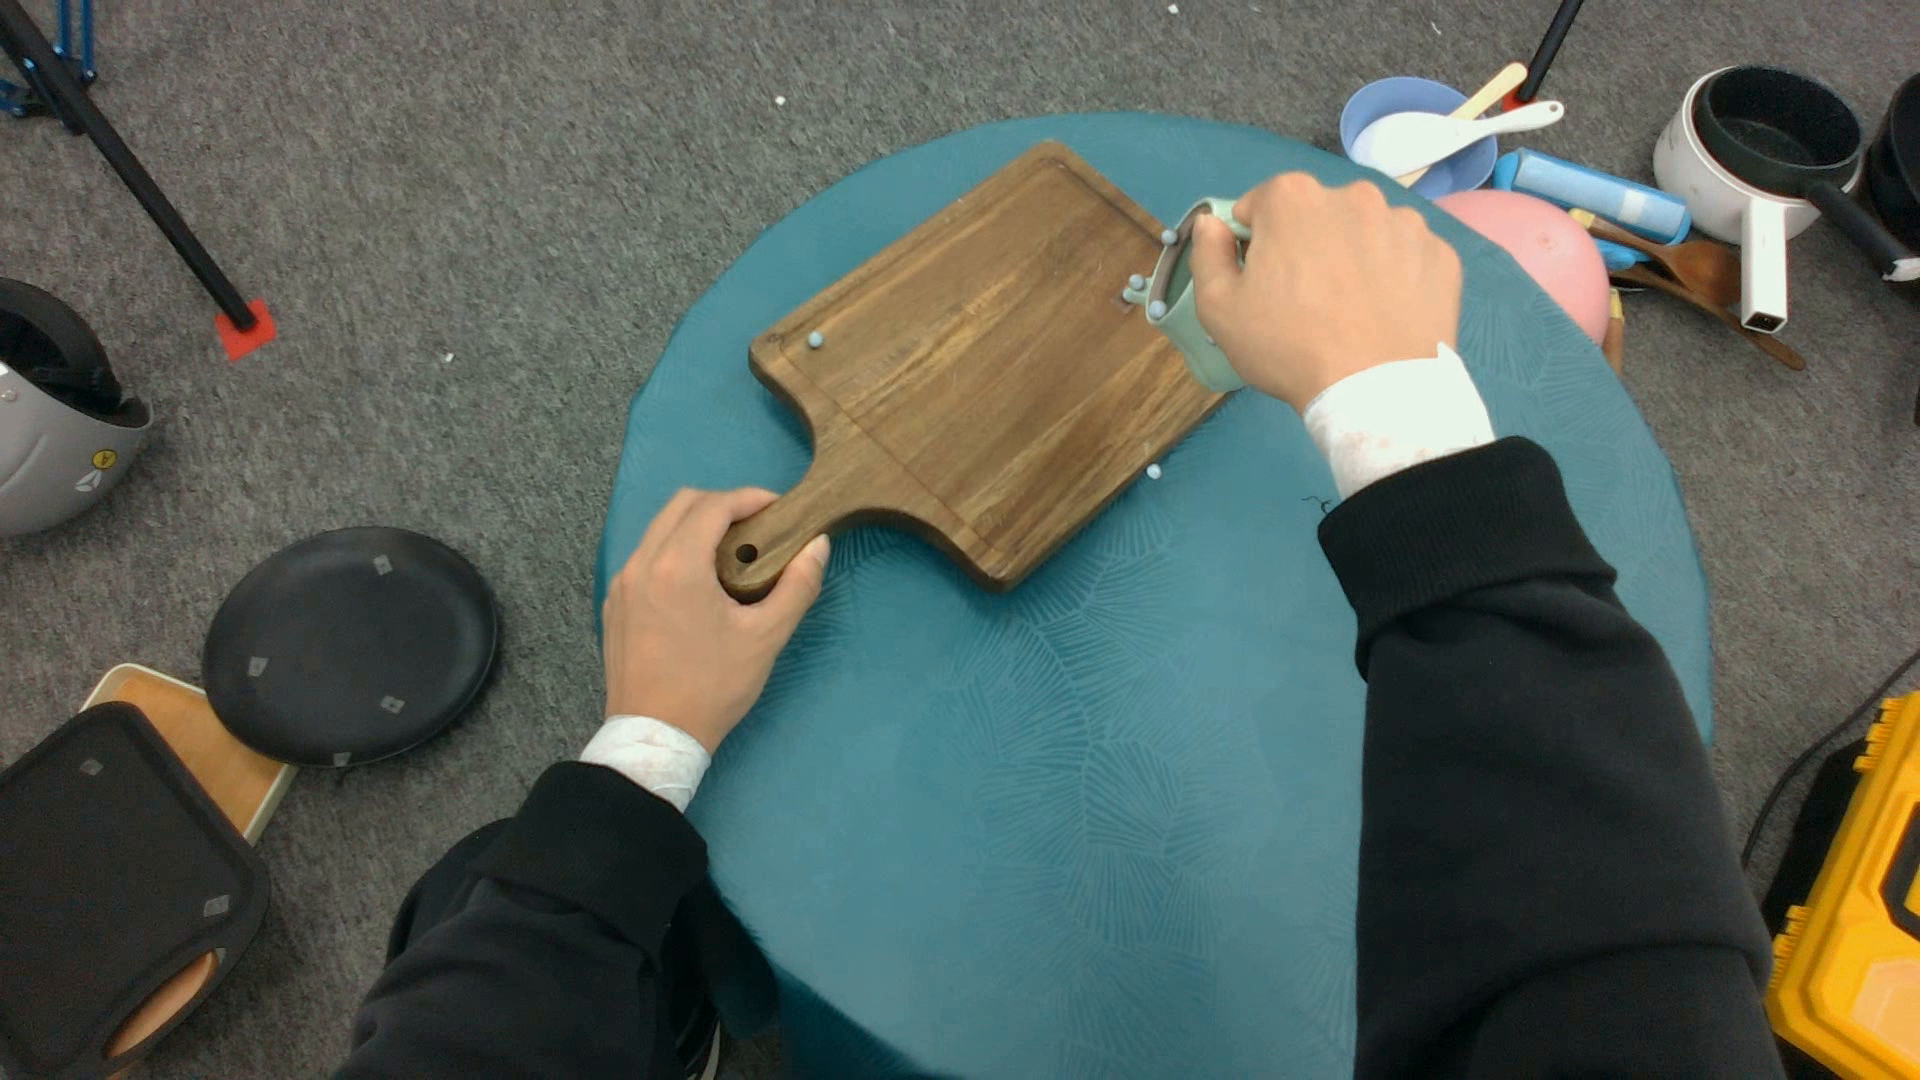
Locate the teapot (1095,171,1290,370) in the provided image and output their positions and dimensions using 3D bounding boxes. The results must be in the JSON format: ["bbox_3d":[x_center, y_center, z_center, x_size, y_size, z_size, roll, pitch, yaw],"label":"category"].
[{"bbox_3d":[0.112,-0.130,0.637,0.061,0.136,0.096,19,81,-12],"label":"teapot"}]

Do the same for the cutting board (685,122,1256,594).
[{"bbox_3d":[-0.012,-0.089,0.746,0.201,0.023,0.353,41,62,13],"label":"cutting board"}]
